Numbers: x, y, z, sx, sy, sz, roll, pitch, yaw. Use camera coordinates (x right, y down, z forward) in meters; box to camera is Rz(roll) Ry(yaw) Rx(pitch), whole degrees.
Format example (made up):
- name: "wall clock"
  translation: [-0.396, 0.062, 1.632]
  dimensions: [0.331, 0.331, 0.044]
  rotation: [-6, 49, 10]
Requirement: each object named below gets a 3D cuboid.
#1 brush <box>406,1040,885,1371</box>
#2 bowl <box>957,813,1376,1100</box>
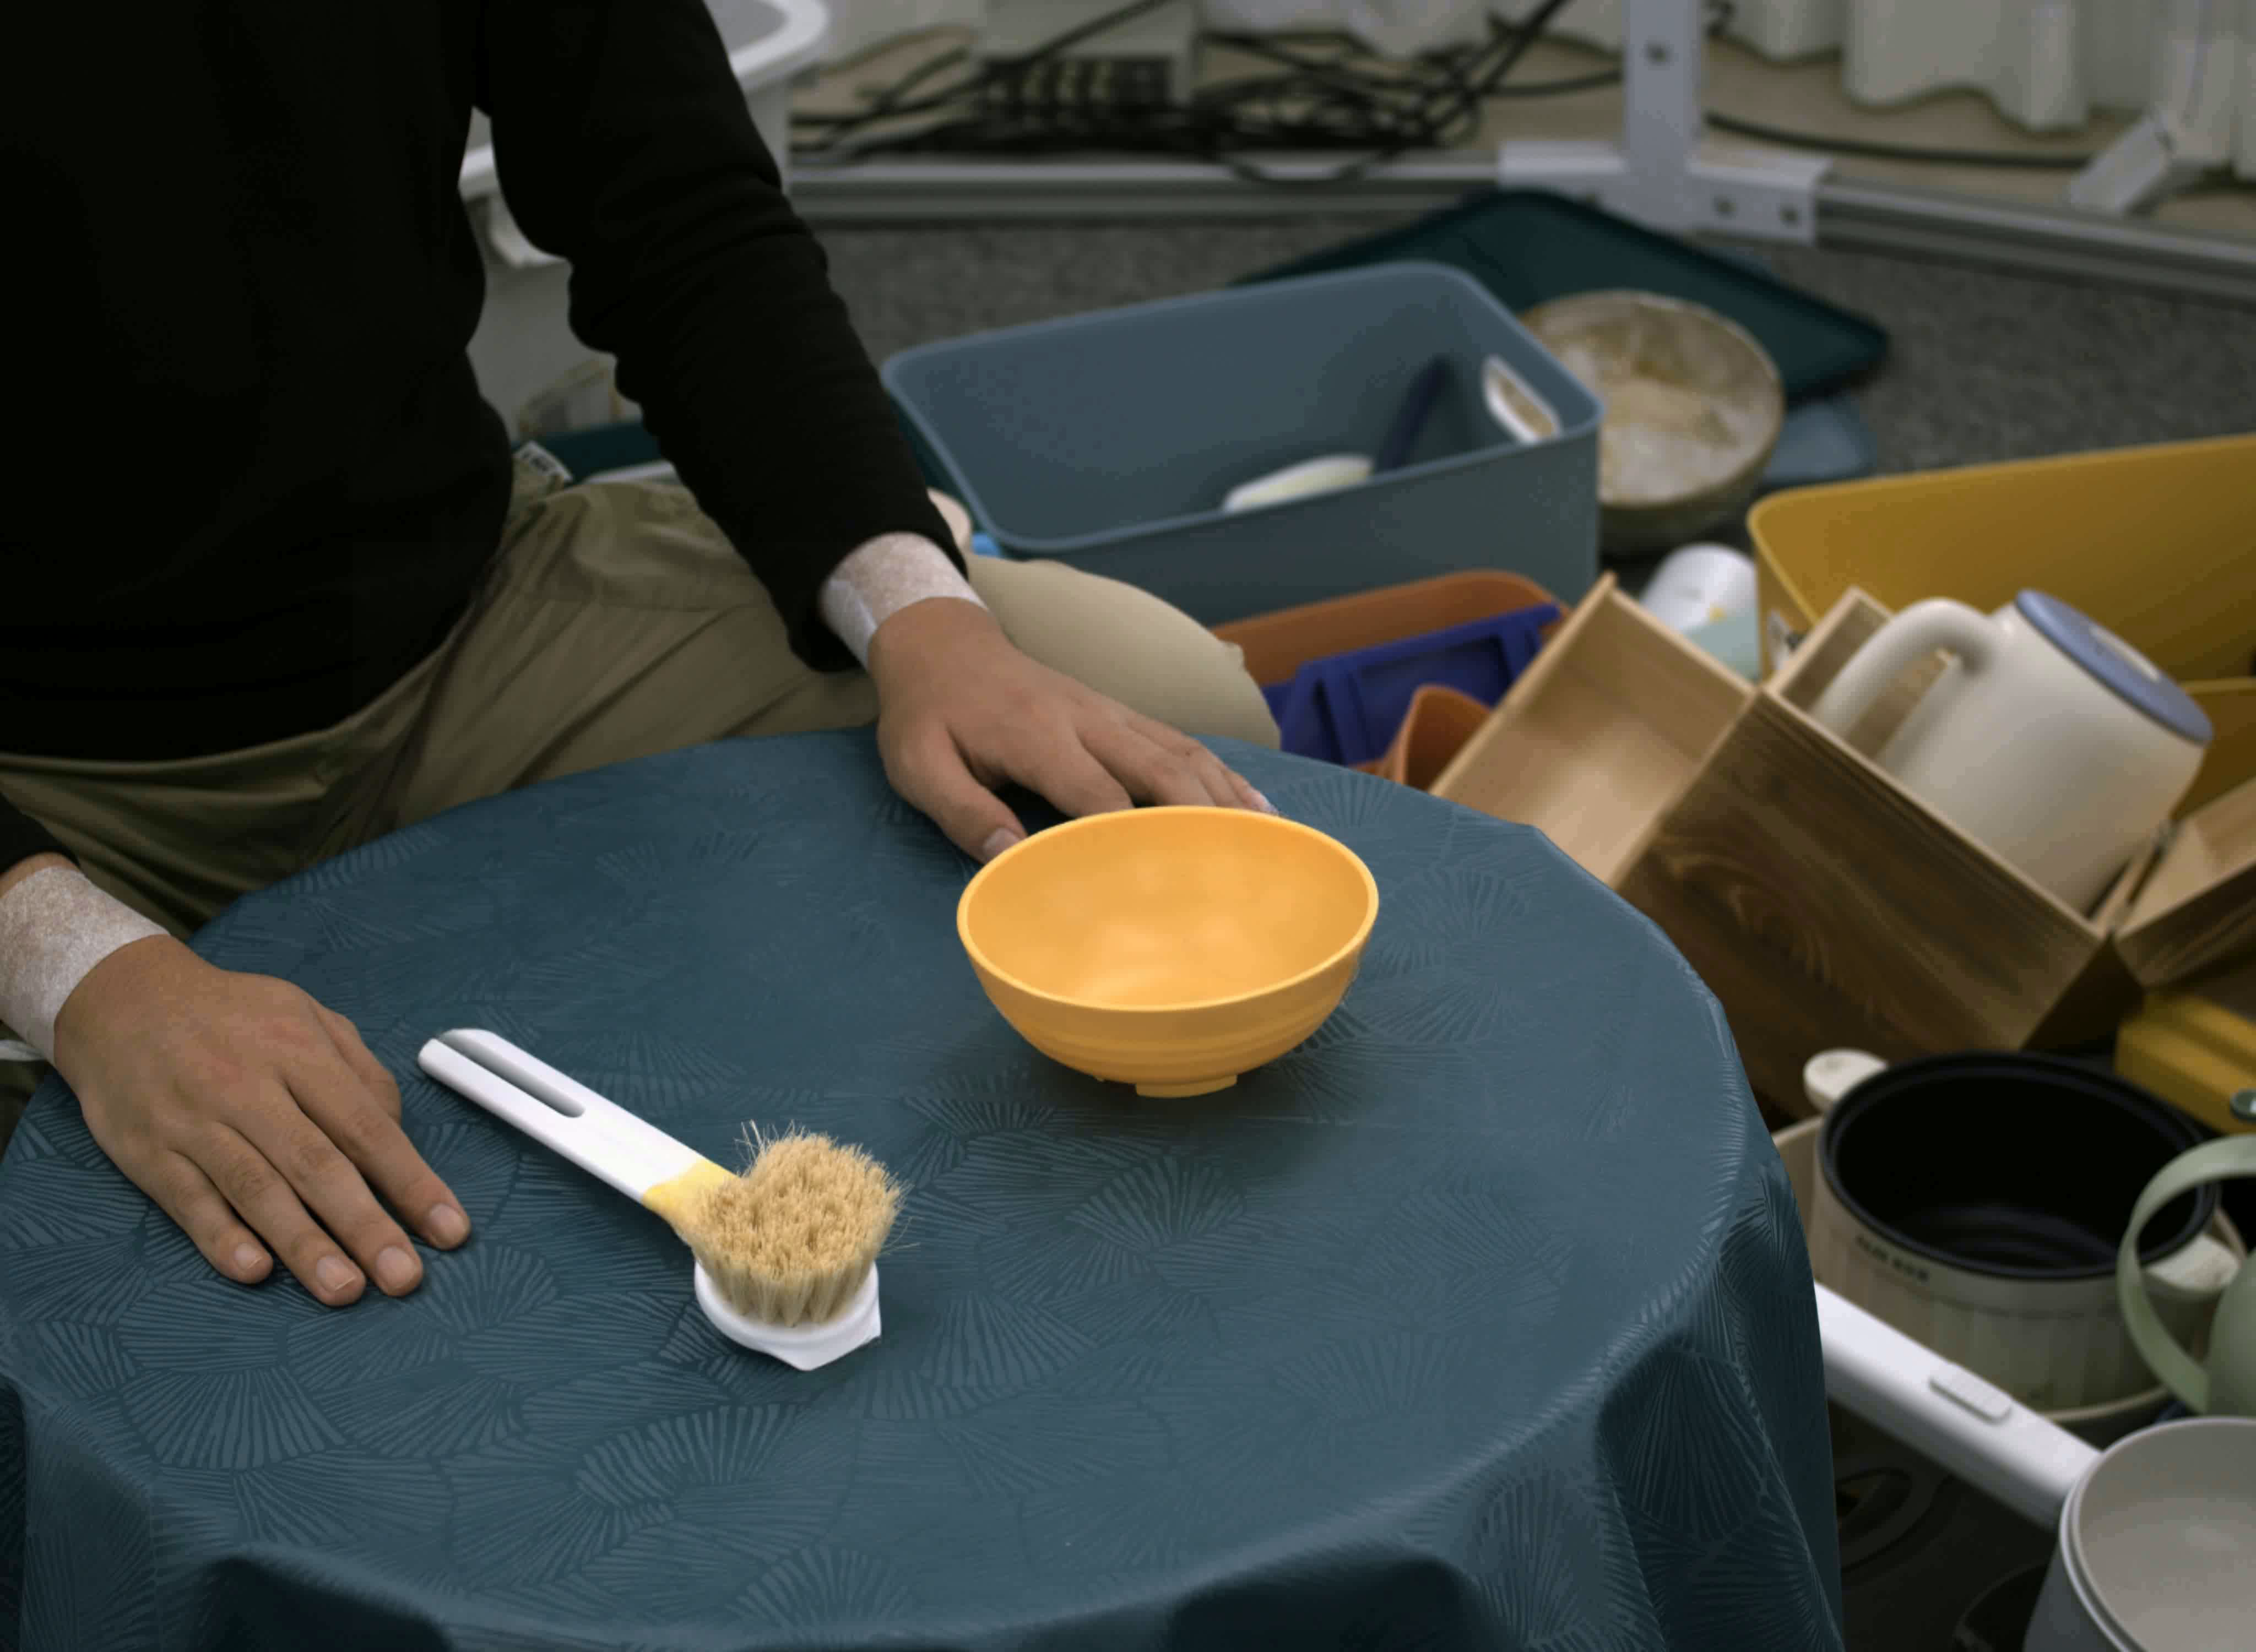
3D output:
- name: "brush"
  translation: [-0.170, 0.103, 1.857]
  dimensions: [0.069, 0.055, 0.267]
  rotation: [-15, 28, -32]
- name: "bowl"
  translation: [0.014, 0.053, 1.930]
  dimensions: [0.144, 0.059, 0.147]
  rotation: [-2, 26, 1]
